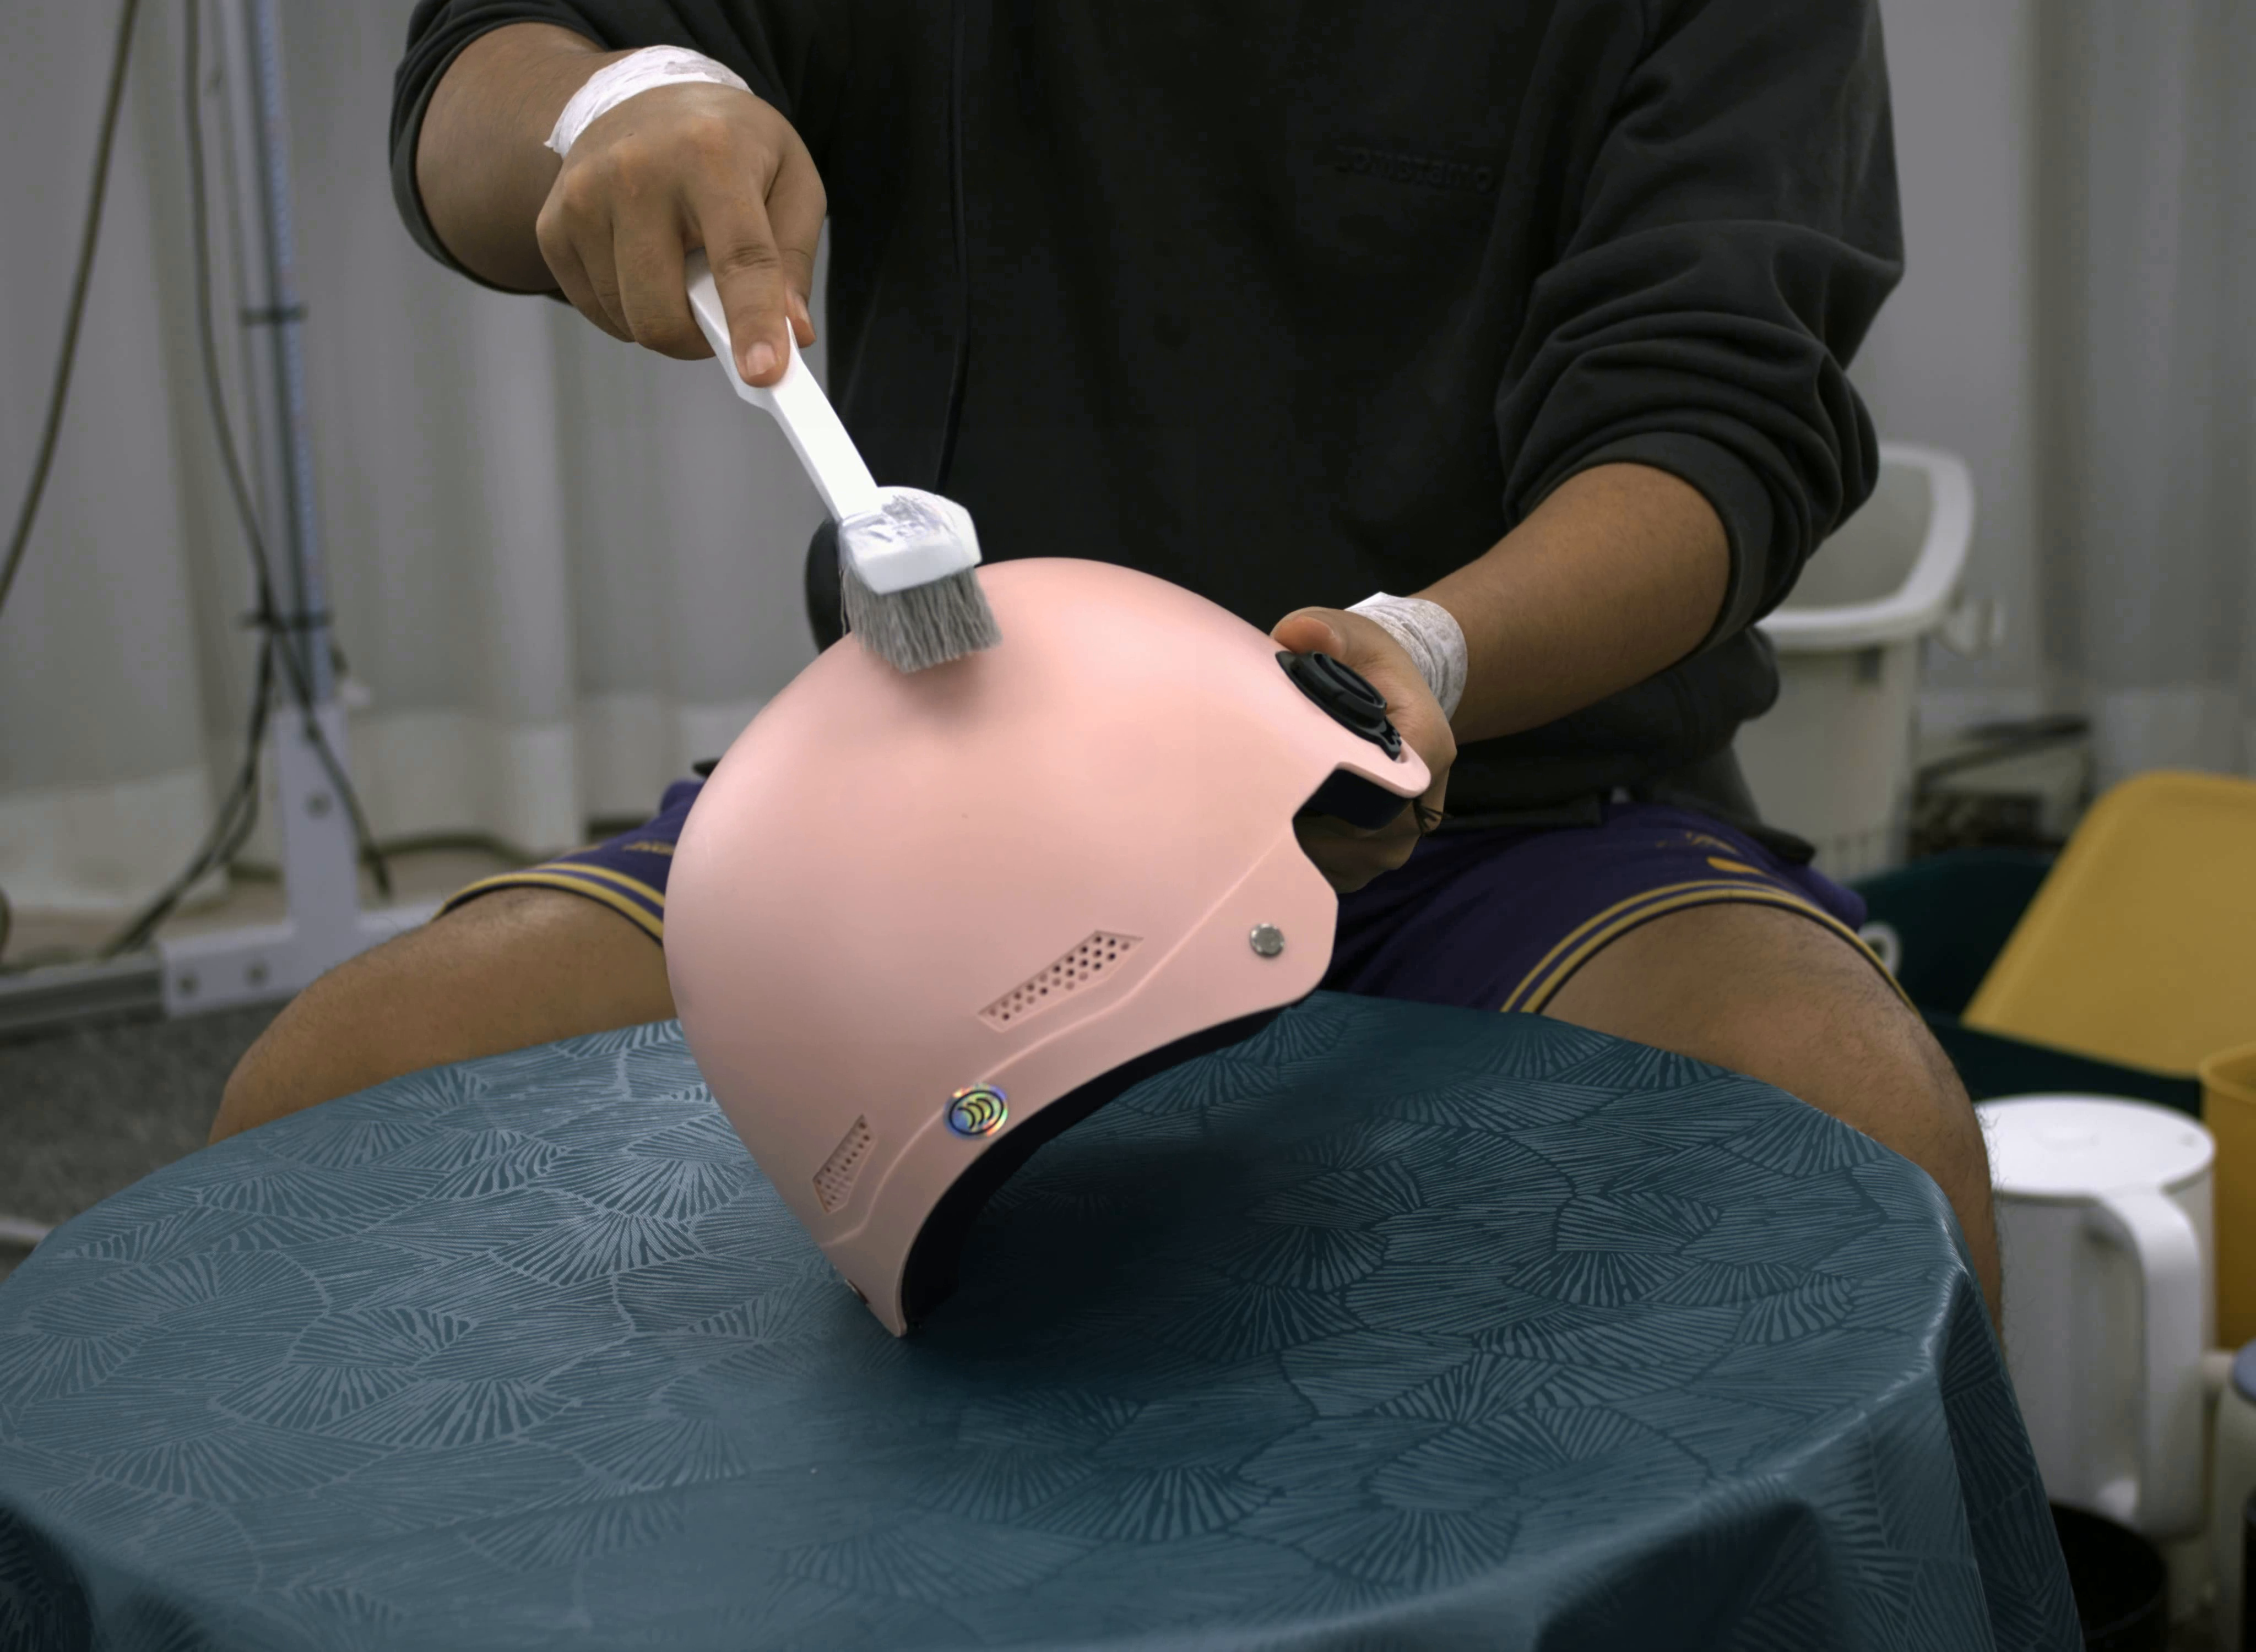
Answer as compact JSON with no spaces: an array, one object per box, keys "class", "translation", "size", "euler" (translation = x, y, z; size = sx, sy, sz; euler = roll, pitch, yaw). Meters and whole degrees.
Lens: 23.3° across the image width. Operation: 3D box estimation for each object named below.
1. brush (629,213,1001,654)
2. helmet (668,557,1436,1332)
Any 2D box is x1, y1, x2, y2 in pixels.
[{"class":"brush","translation":[-0.096,-0.115,1.618],"size":[0.034,0.049,0.247],"euler":[-18,35,-16]},{"class":"helmet","translation":[-0.041,0.009,1.636],"size":[0.233,0.158,0.267],"euler":[-43,4,23]}]
